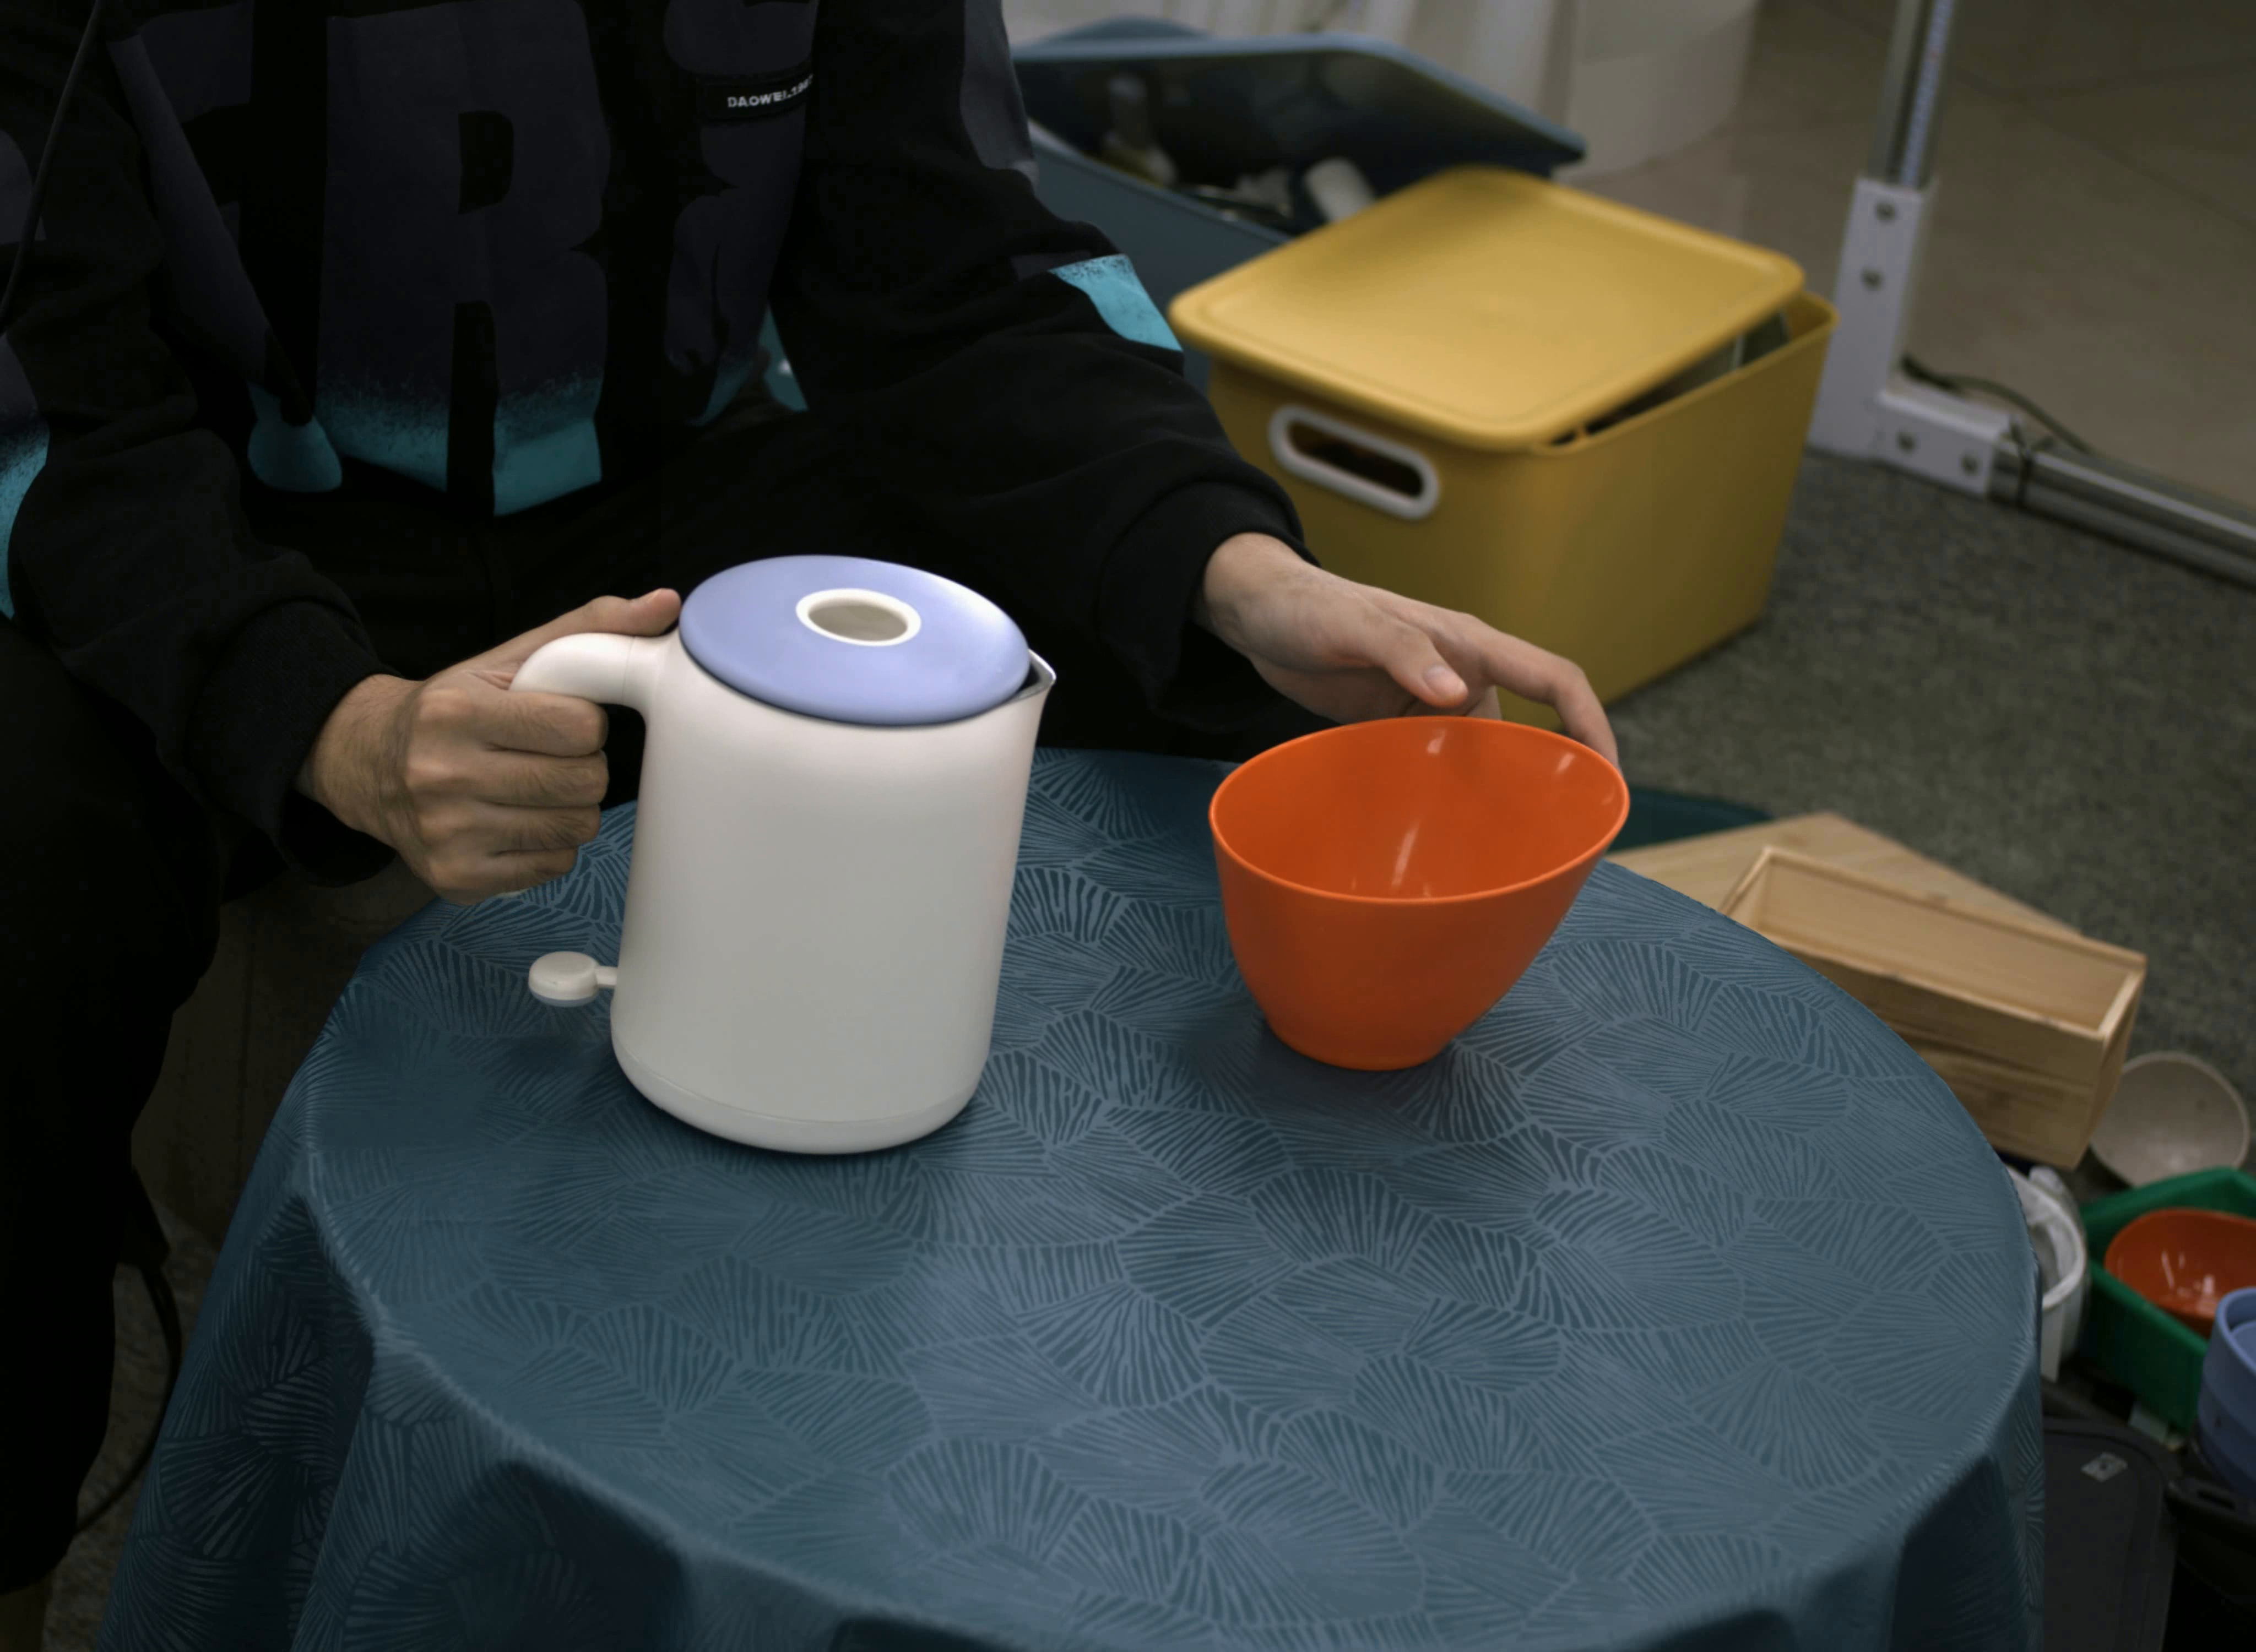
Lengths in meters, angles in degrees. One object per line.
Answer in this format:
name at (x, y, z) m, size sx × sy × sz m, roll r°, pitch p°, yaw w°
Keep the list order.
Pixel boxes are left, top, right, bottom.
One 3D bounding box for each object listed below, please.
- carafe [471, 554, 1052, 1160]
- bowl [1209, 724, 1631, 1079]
carafe at (-0.127, 0.007, 1.807) m, size 0.190 × 0.182 × 0.133 m, roll 6°, pitch 25°, yaw 0°
bowl at (0.098, 0.031, 1.892) m, size 0.147 × 0.104 × 0.149 m, roll 5°, pitch 27°, yaw -3°
